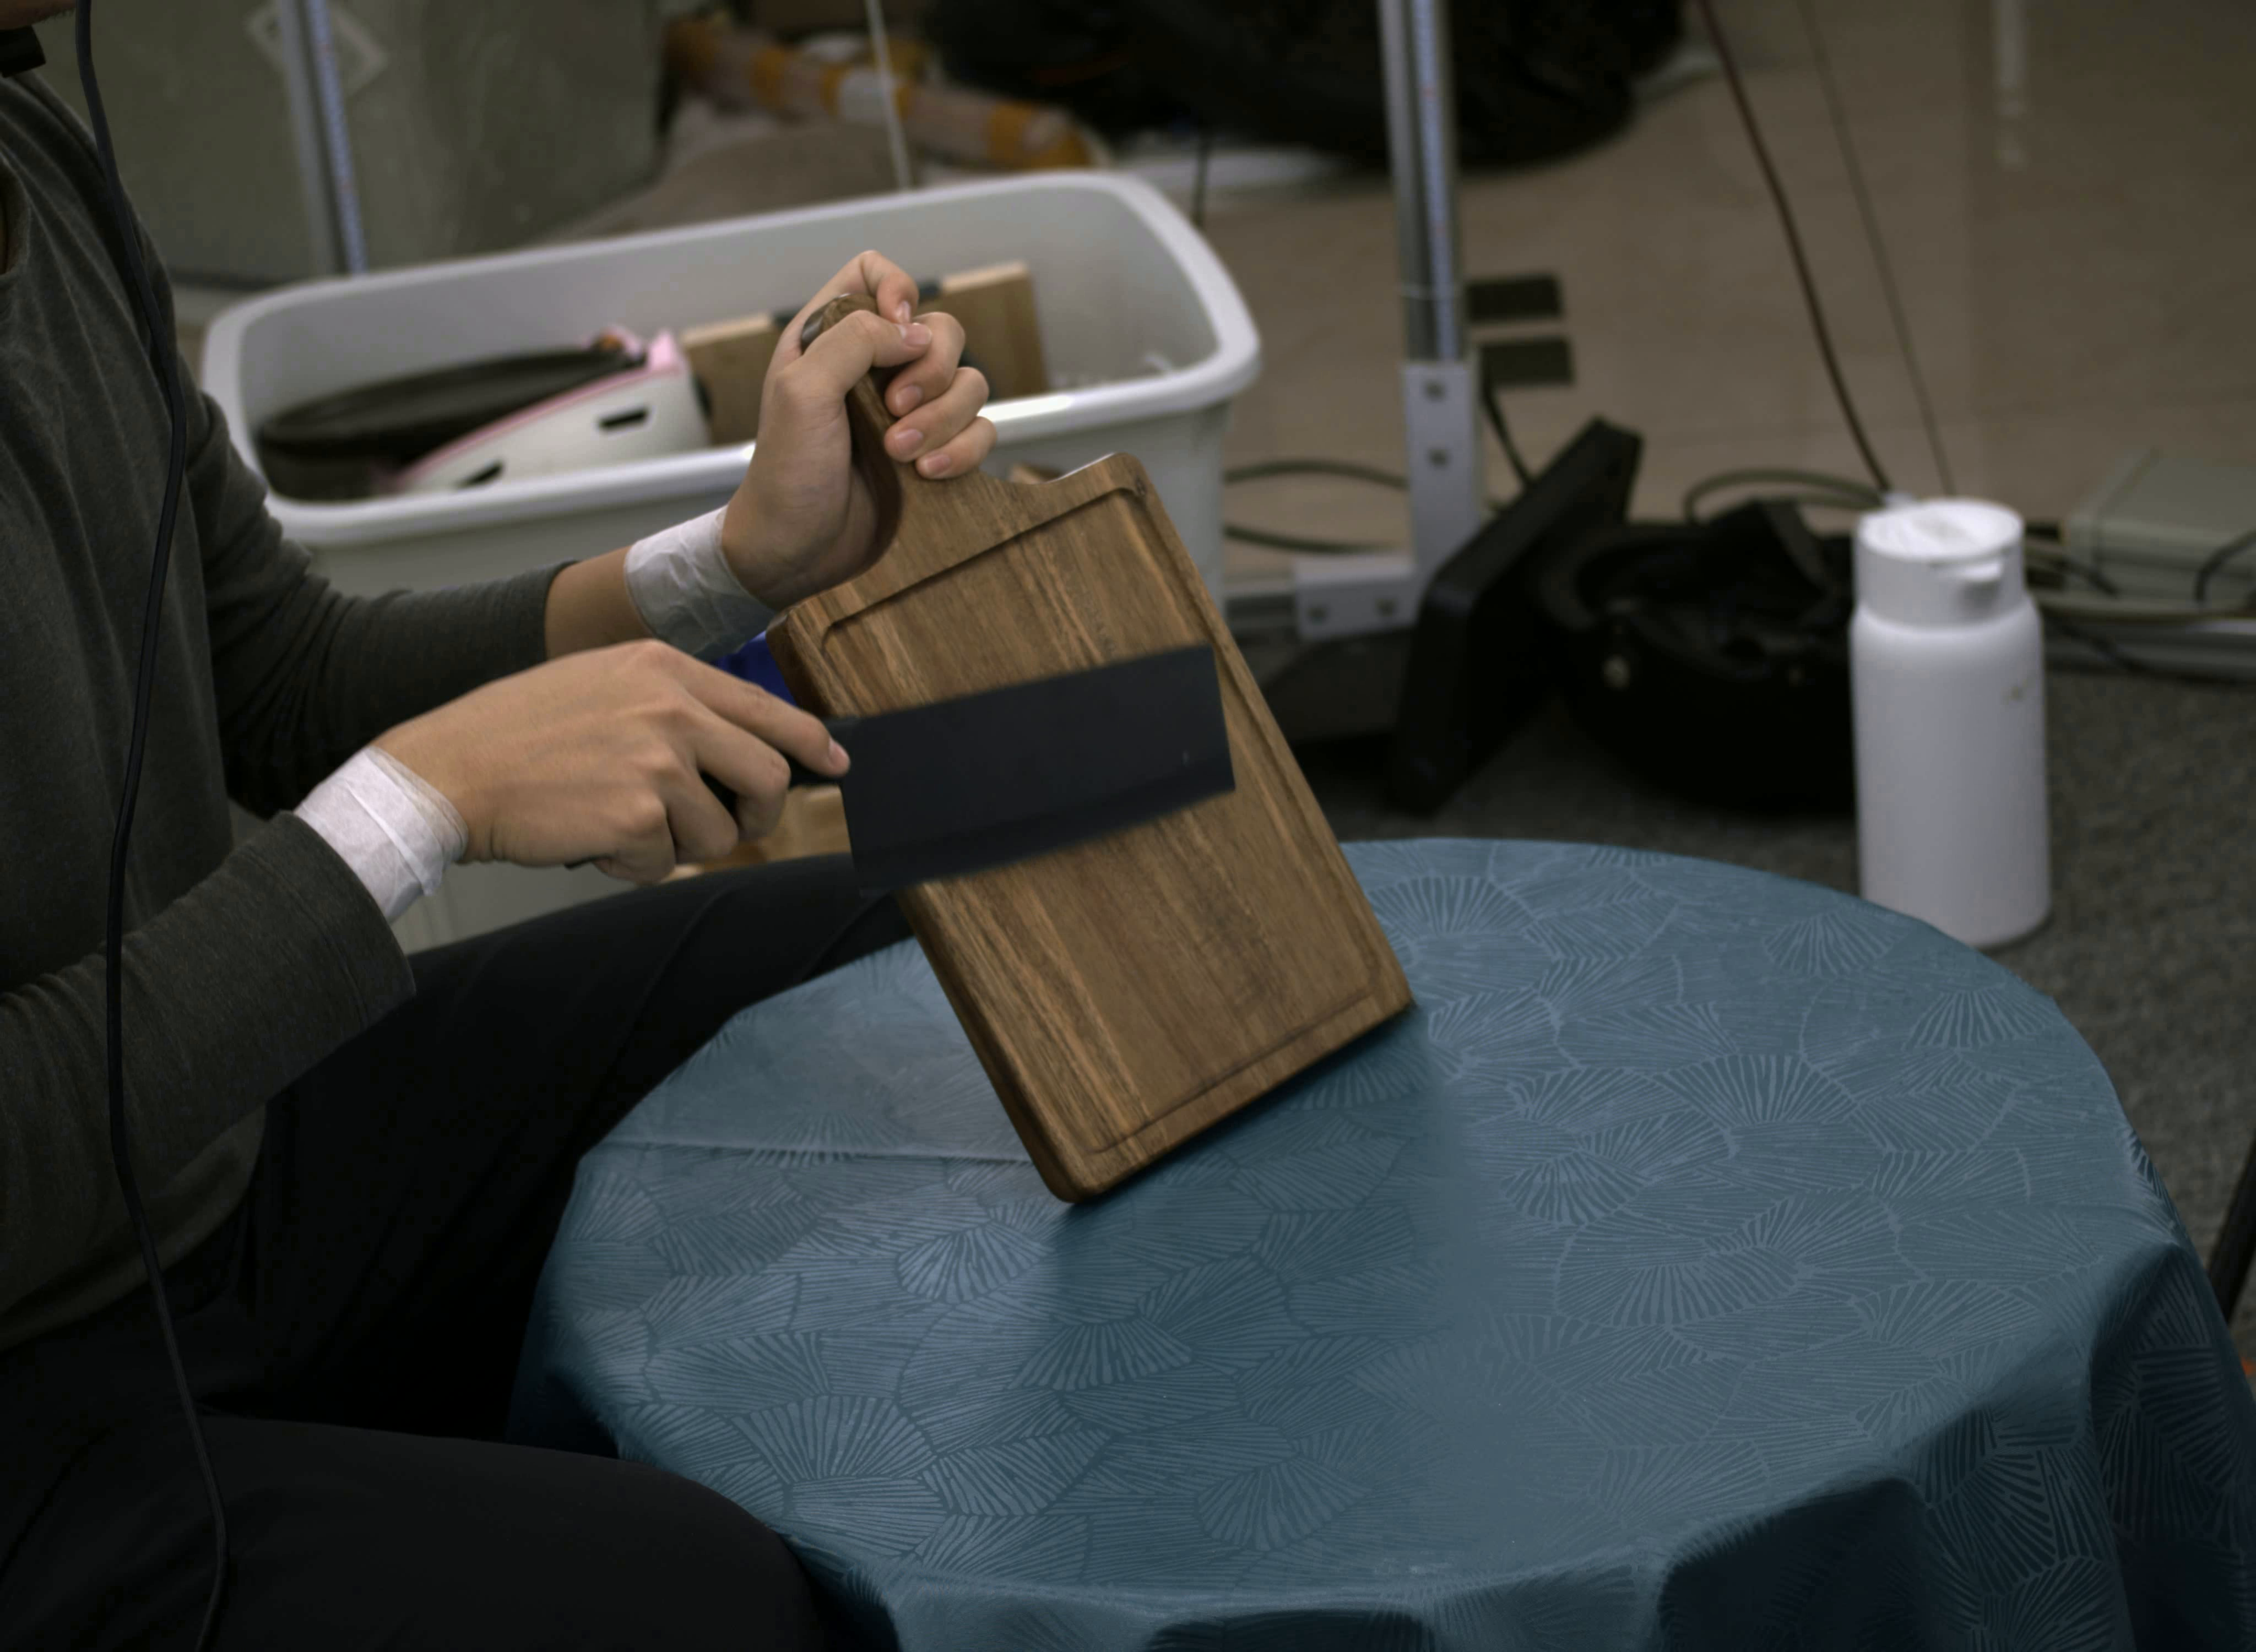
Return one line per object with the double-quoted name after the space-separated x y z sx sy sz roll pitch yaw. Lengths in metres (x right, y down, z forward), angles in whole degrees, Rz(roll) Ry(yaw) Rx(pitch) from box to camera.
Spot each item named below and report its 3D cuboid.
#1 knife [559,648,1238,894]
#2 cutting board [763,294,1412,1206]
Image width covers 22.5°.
-0.081 -0.014 2.117 0.301 0.081 0.021 -8 4 -35 "knife"
-0.035 -0.047 2.188 0.199 0.353 0.023 -30 4 -39 "cutting board"
